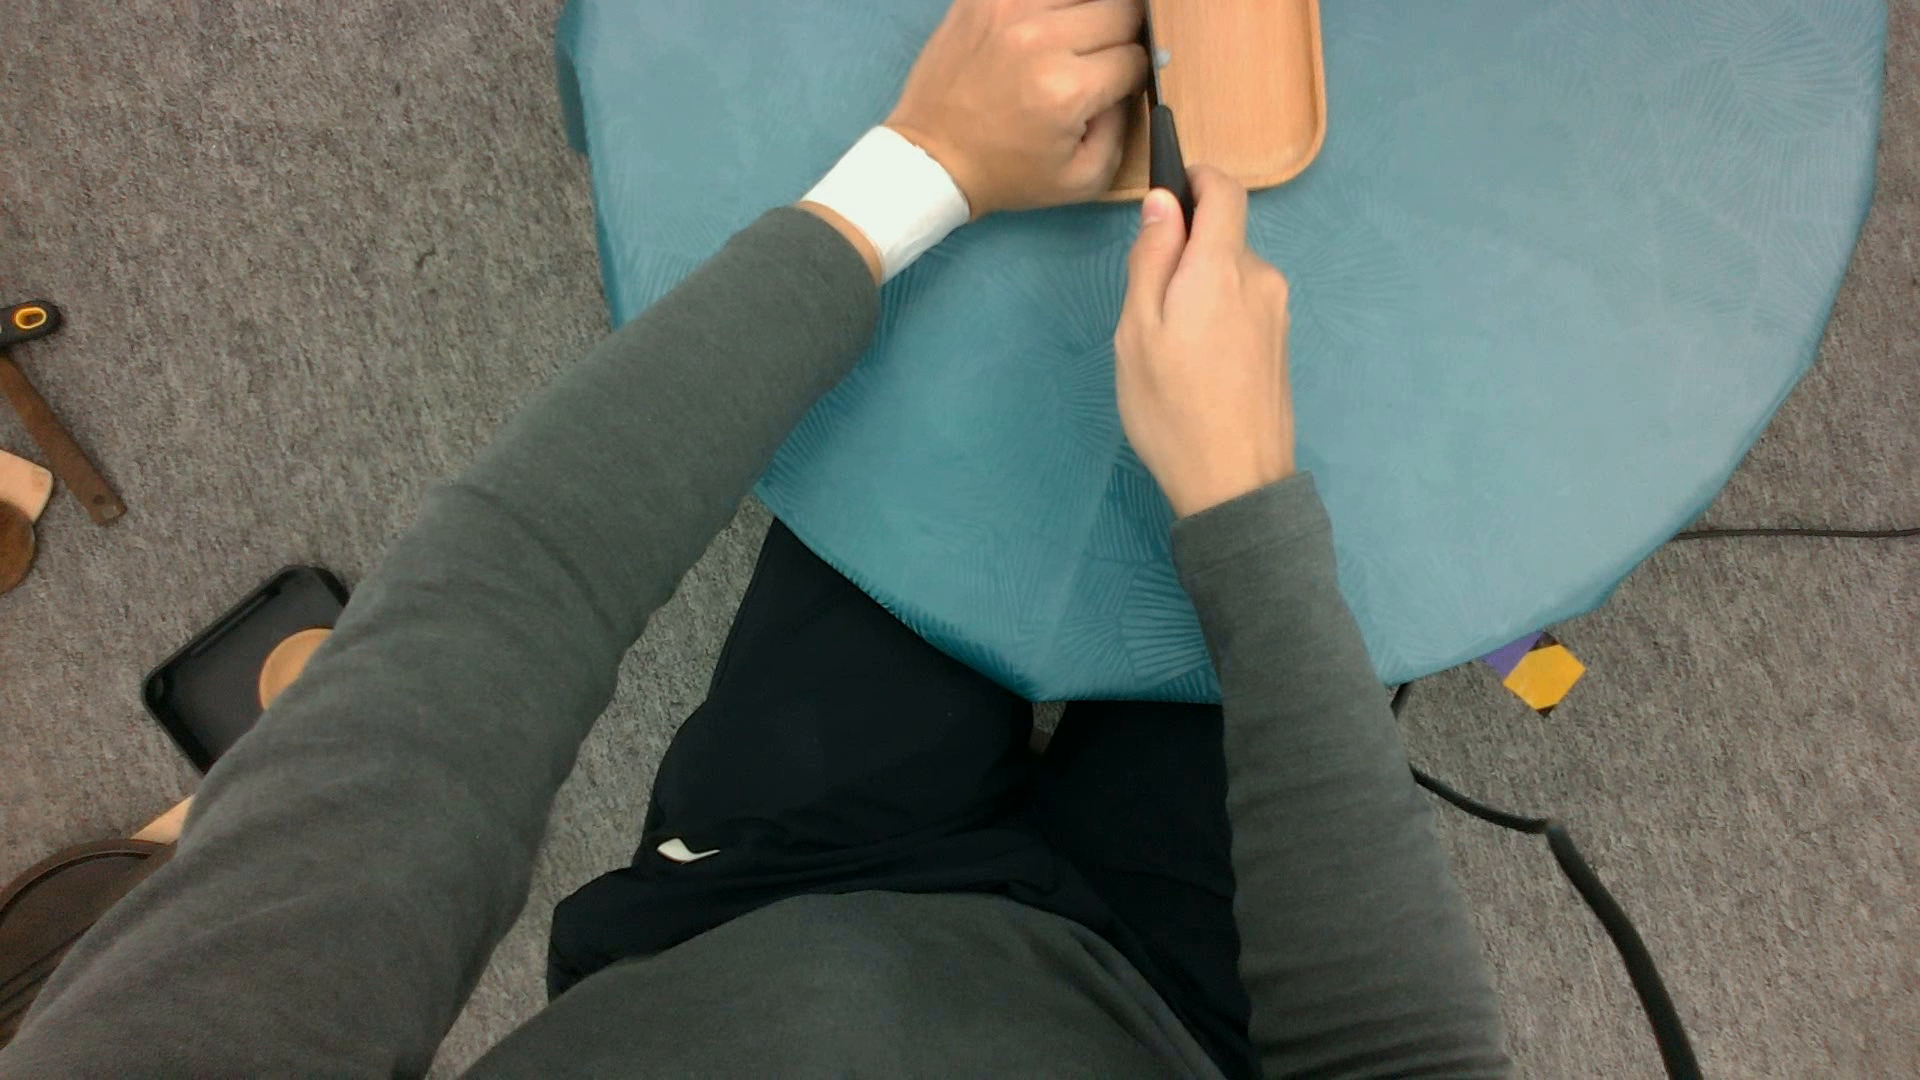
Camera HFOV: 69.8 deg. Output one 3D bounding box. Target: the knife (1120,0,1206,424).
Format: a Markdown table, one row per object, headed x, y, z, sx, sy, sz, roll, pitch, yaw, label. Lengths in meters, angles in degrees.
| x | y | z | sx | sy | sz | roll | pitch | yaw | label |
| --- | --- | --- | --- | --- | --- | --- | --- | --- | --- |
| 0.075 | -0.200 | 0.584 | 0.021 | 0.081 | 0.302 | -8 | 86 | 6 | knife |

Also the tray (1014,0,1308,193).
| x | y | z | sx | sy | sz | roll | pitch | yaw | label |
| --- | --- | --- | --- | --- | --- | --- | --- | --- | --- |
| 0.086 | -0.285 | 0.625 | 0.130 | 0.023 | 0.250 | -4 | 92 | 1 | tray |
